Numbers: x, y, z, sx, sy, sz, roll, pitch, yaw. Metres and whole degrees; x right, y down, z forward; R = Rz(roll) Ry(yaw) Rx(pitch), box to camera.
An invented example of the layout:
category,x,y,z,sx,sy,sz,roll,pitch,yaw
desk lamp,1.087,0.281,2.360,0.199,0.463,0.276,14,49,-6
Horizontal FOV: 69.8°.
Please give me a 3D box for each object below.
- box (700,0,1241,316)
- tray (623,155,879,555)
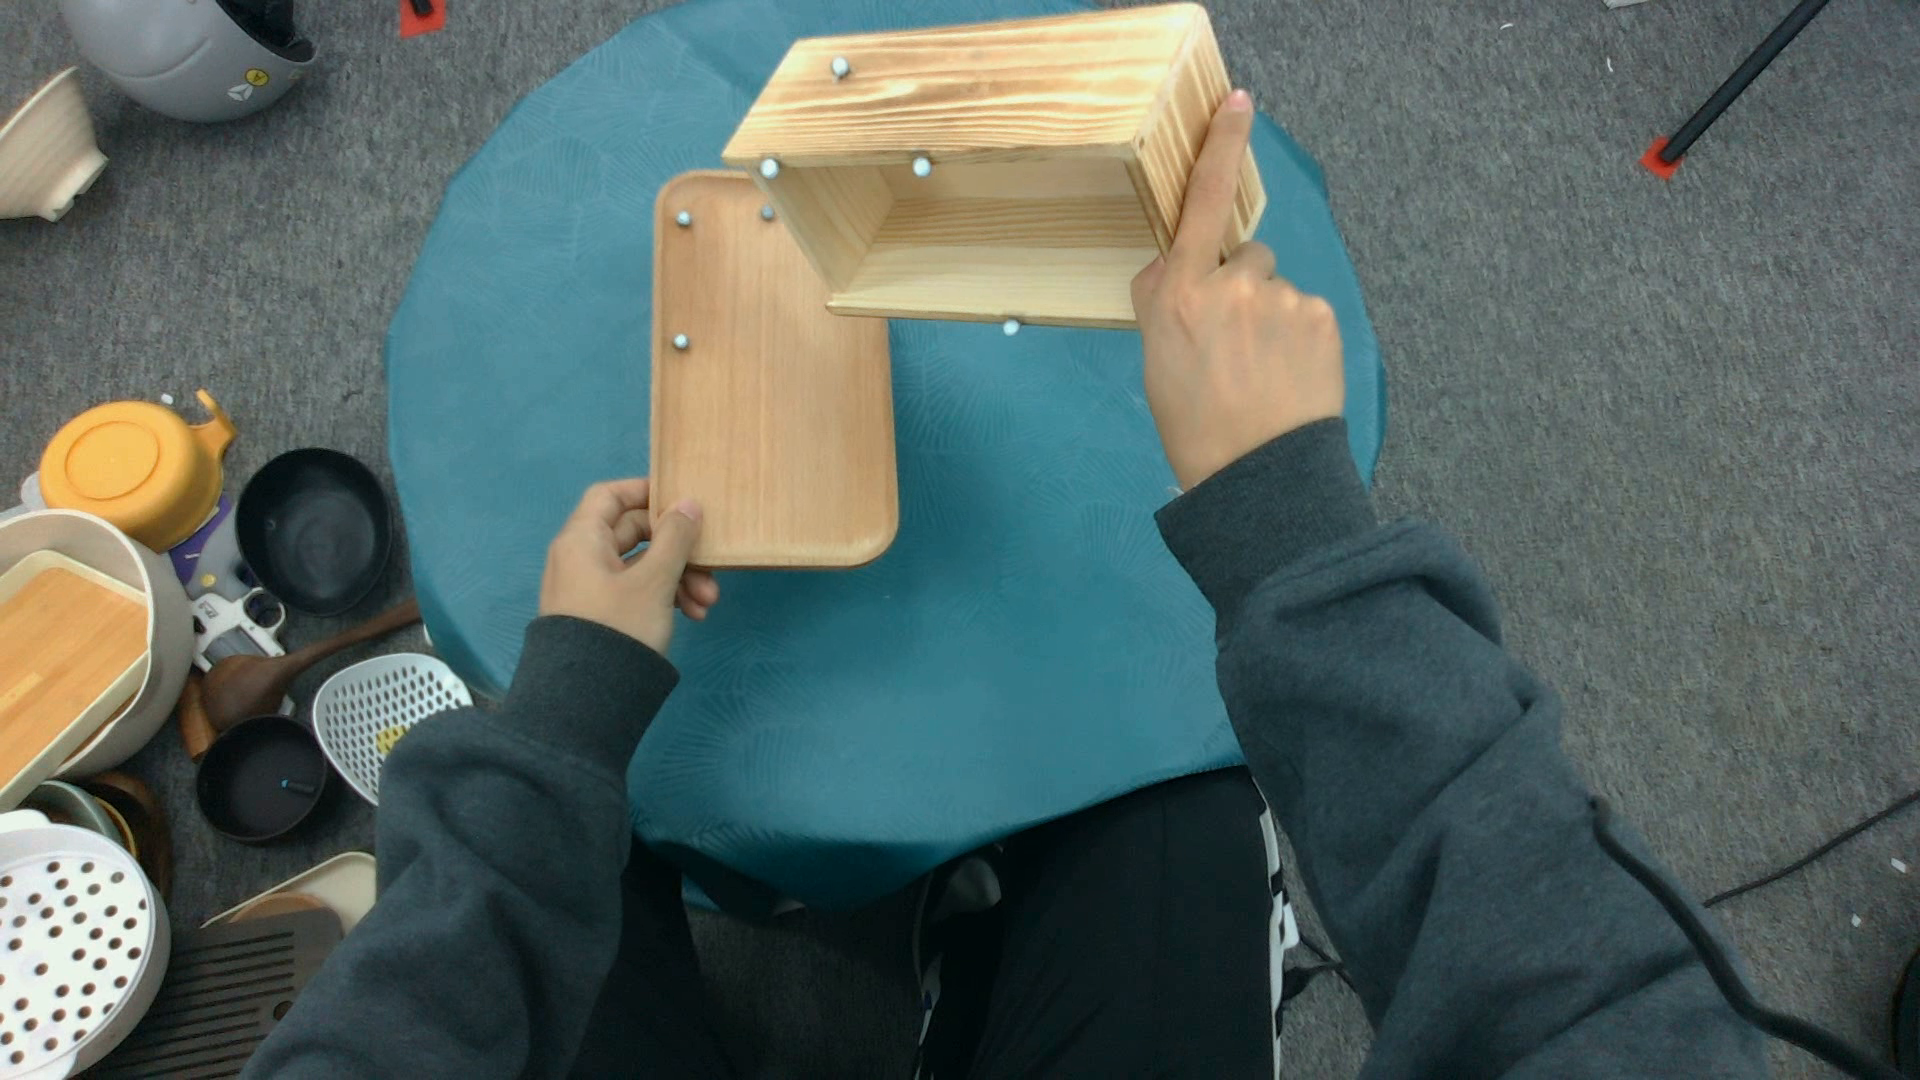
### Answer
category,x,y,z,sx,sy,sz,roll,pitch,yaw
box,0.005,-0.169,0.620,0.211,0.107,0.080,8,61,33
tray,-0.114,-0.105,0.743,0.130,0.023,0.251,-1,65,-9
